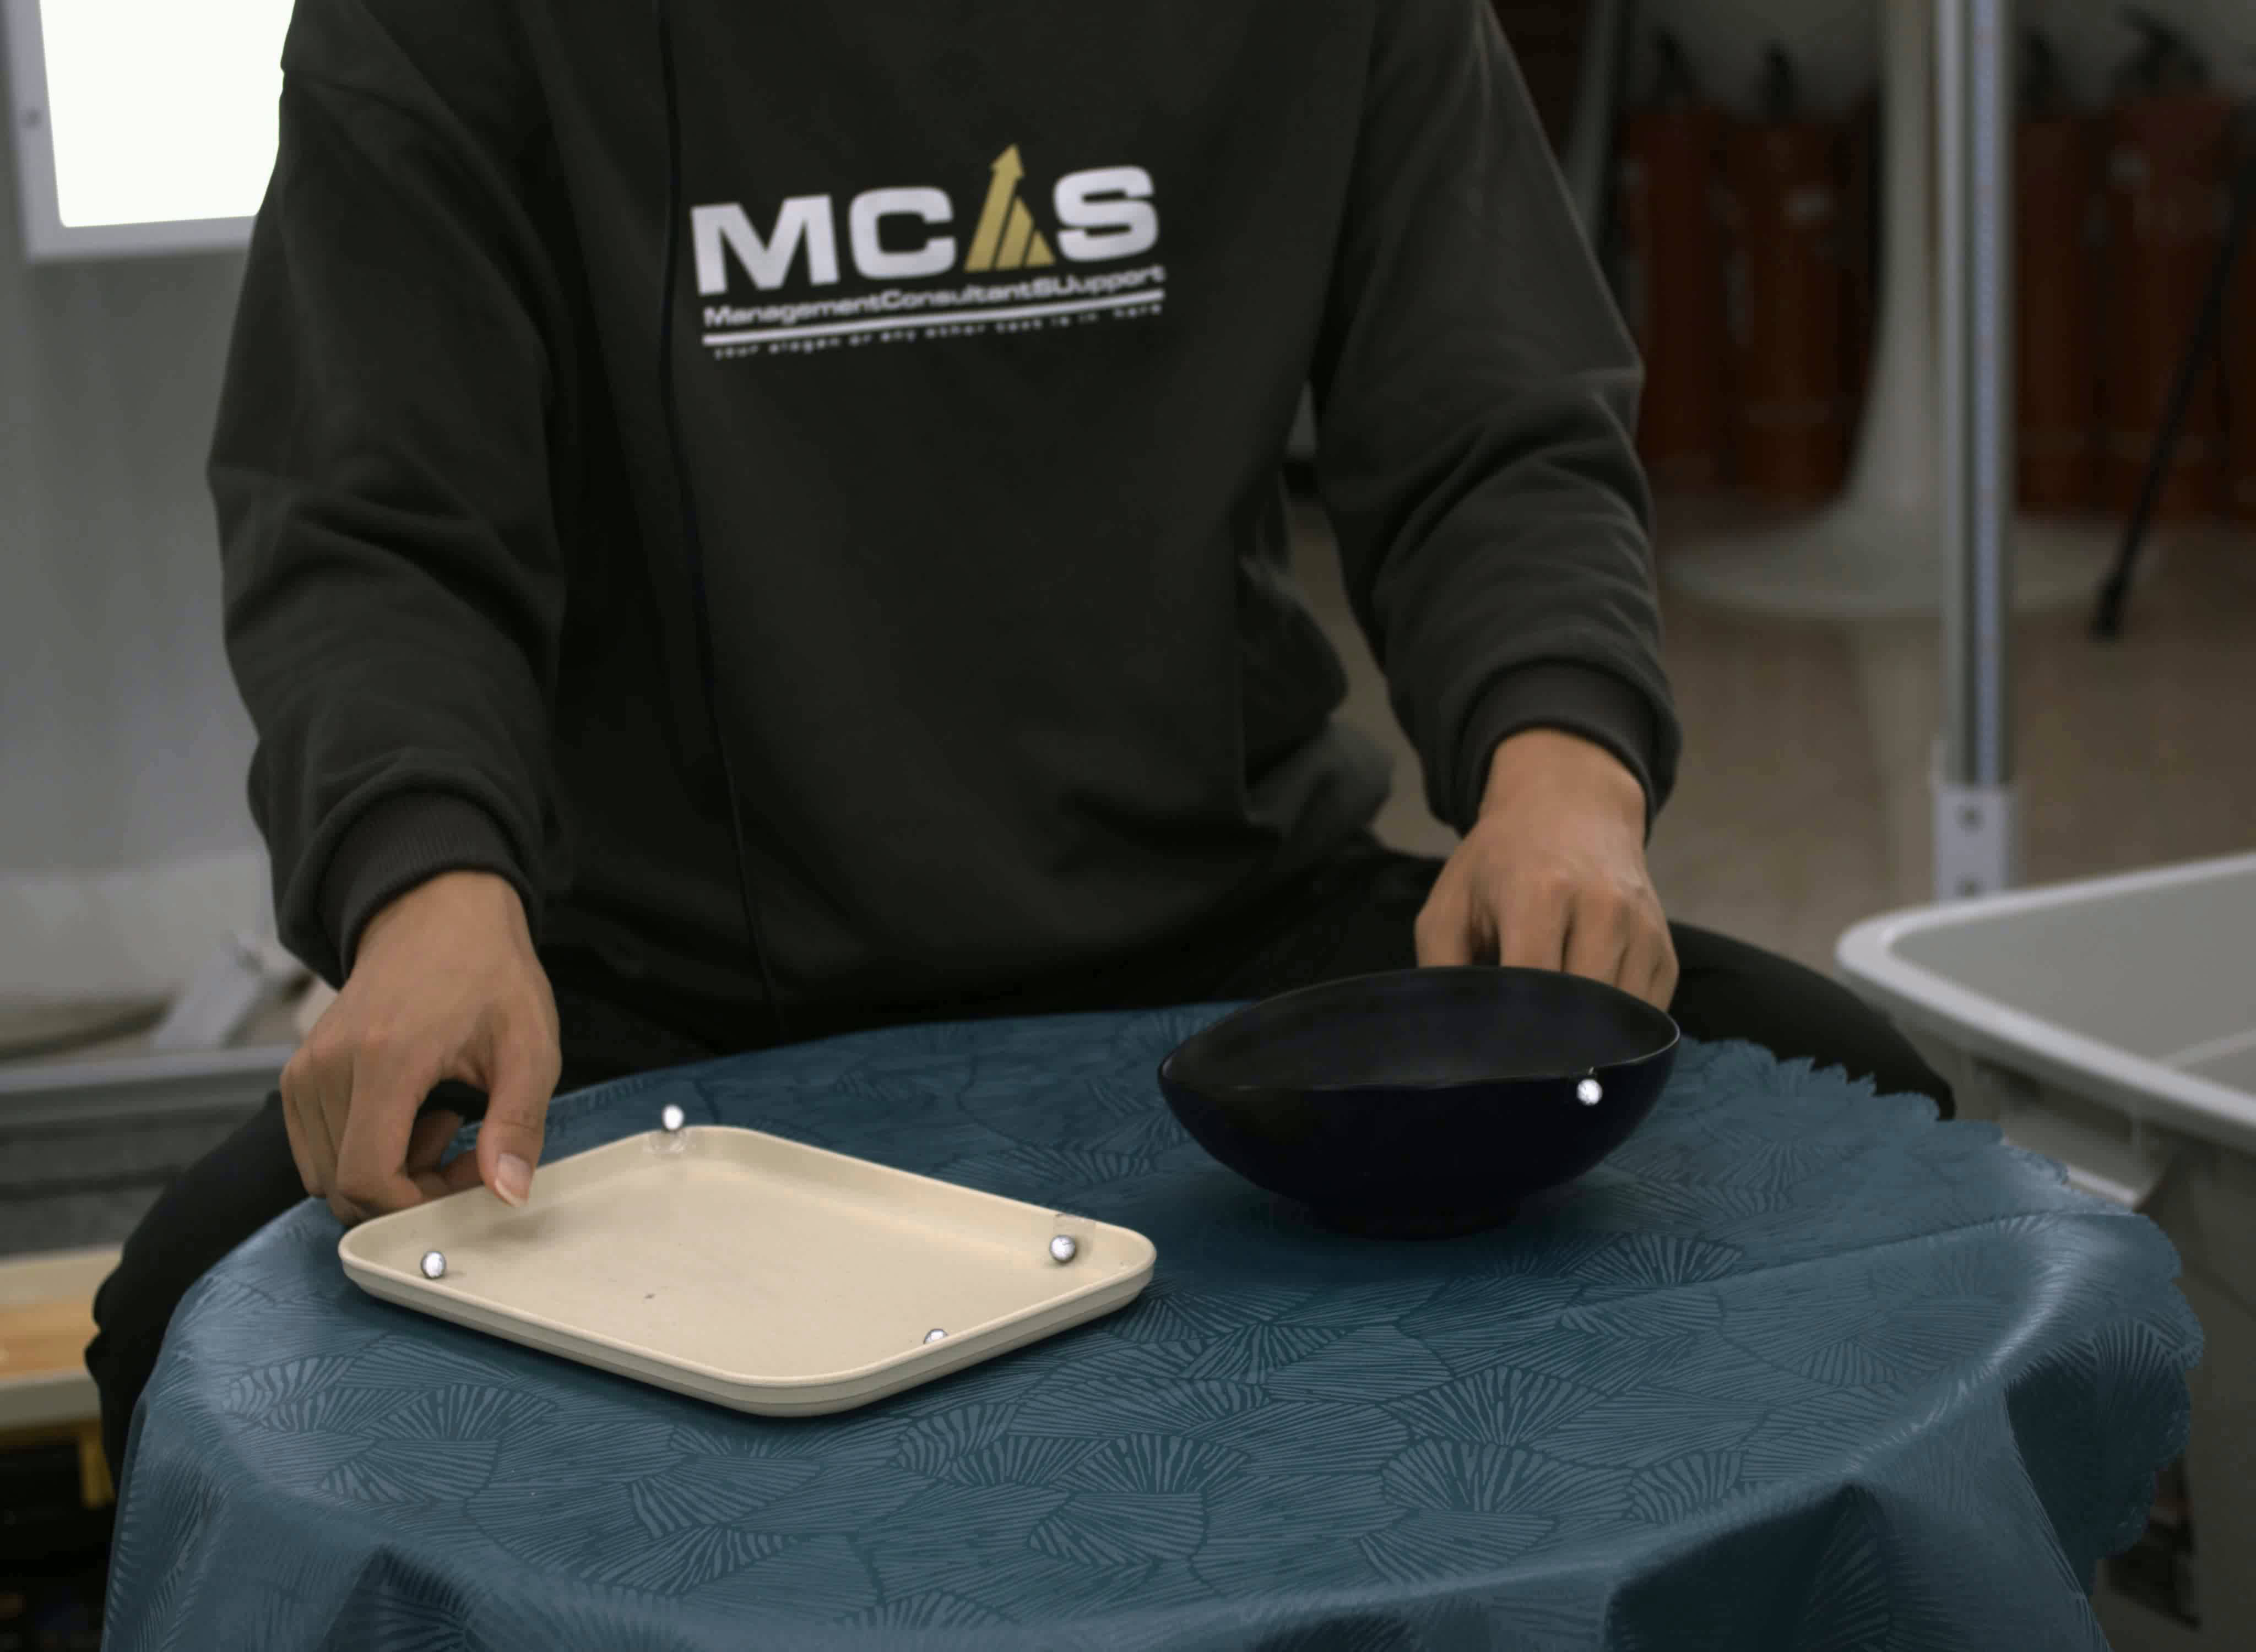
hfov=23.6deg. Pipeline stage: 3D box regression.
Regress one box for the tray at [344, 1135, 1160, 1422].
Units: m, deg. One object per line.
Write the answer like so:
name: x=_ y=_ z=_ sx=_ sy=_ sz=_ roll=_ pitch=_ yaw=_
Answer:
tray: x=-0.119 y=0.140 z=1.693 sx=0.168 sy=0.017 sz=0.242 roll=-16 pitch=18 yaw=-42

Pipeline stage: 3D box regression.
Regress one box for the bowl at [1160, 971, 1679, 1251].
bowl: x=0.094 y=0.096 z=1.728 sx=0.169 sy=0.067 sz=0.137 roll=-4 pitch=11 yaw=8
